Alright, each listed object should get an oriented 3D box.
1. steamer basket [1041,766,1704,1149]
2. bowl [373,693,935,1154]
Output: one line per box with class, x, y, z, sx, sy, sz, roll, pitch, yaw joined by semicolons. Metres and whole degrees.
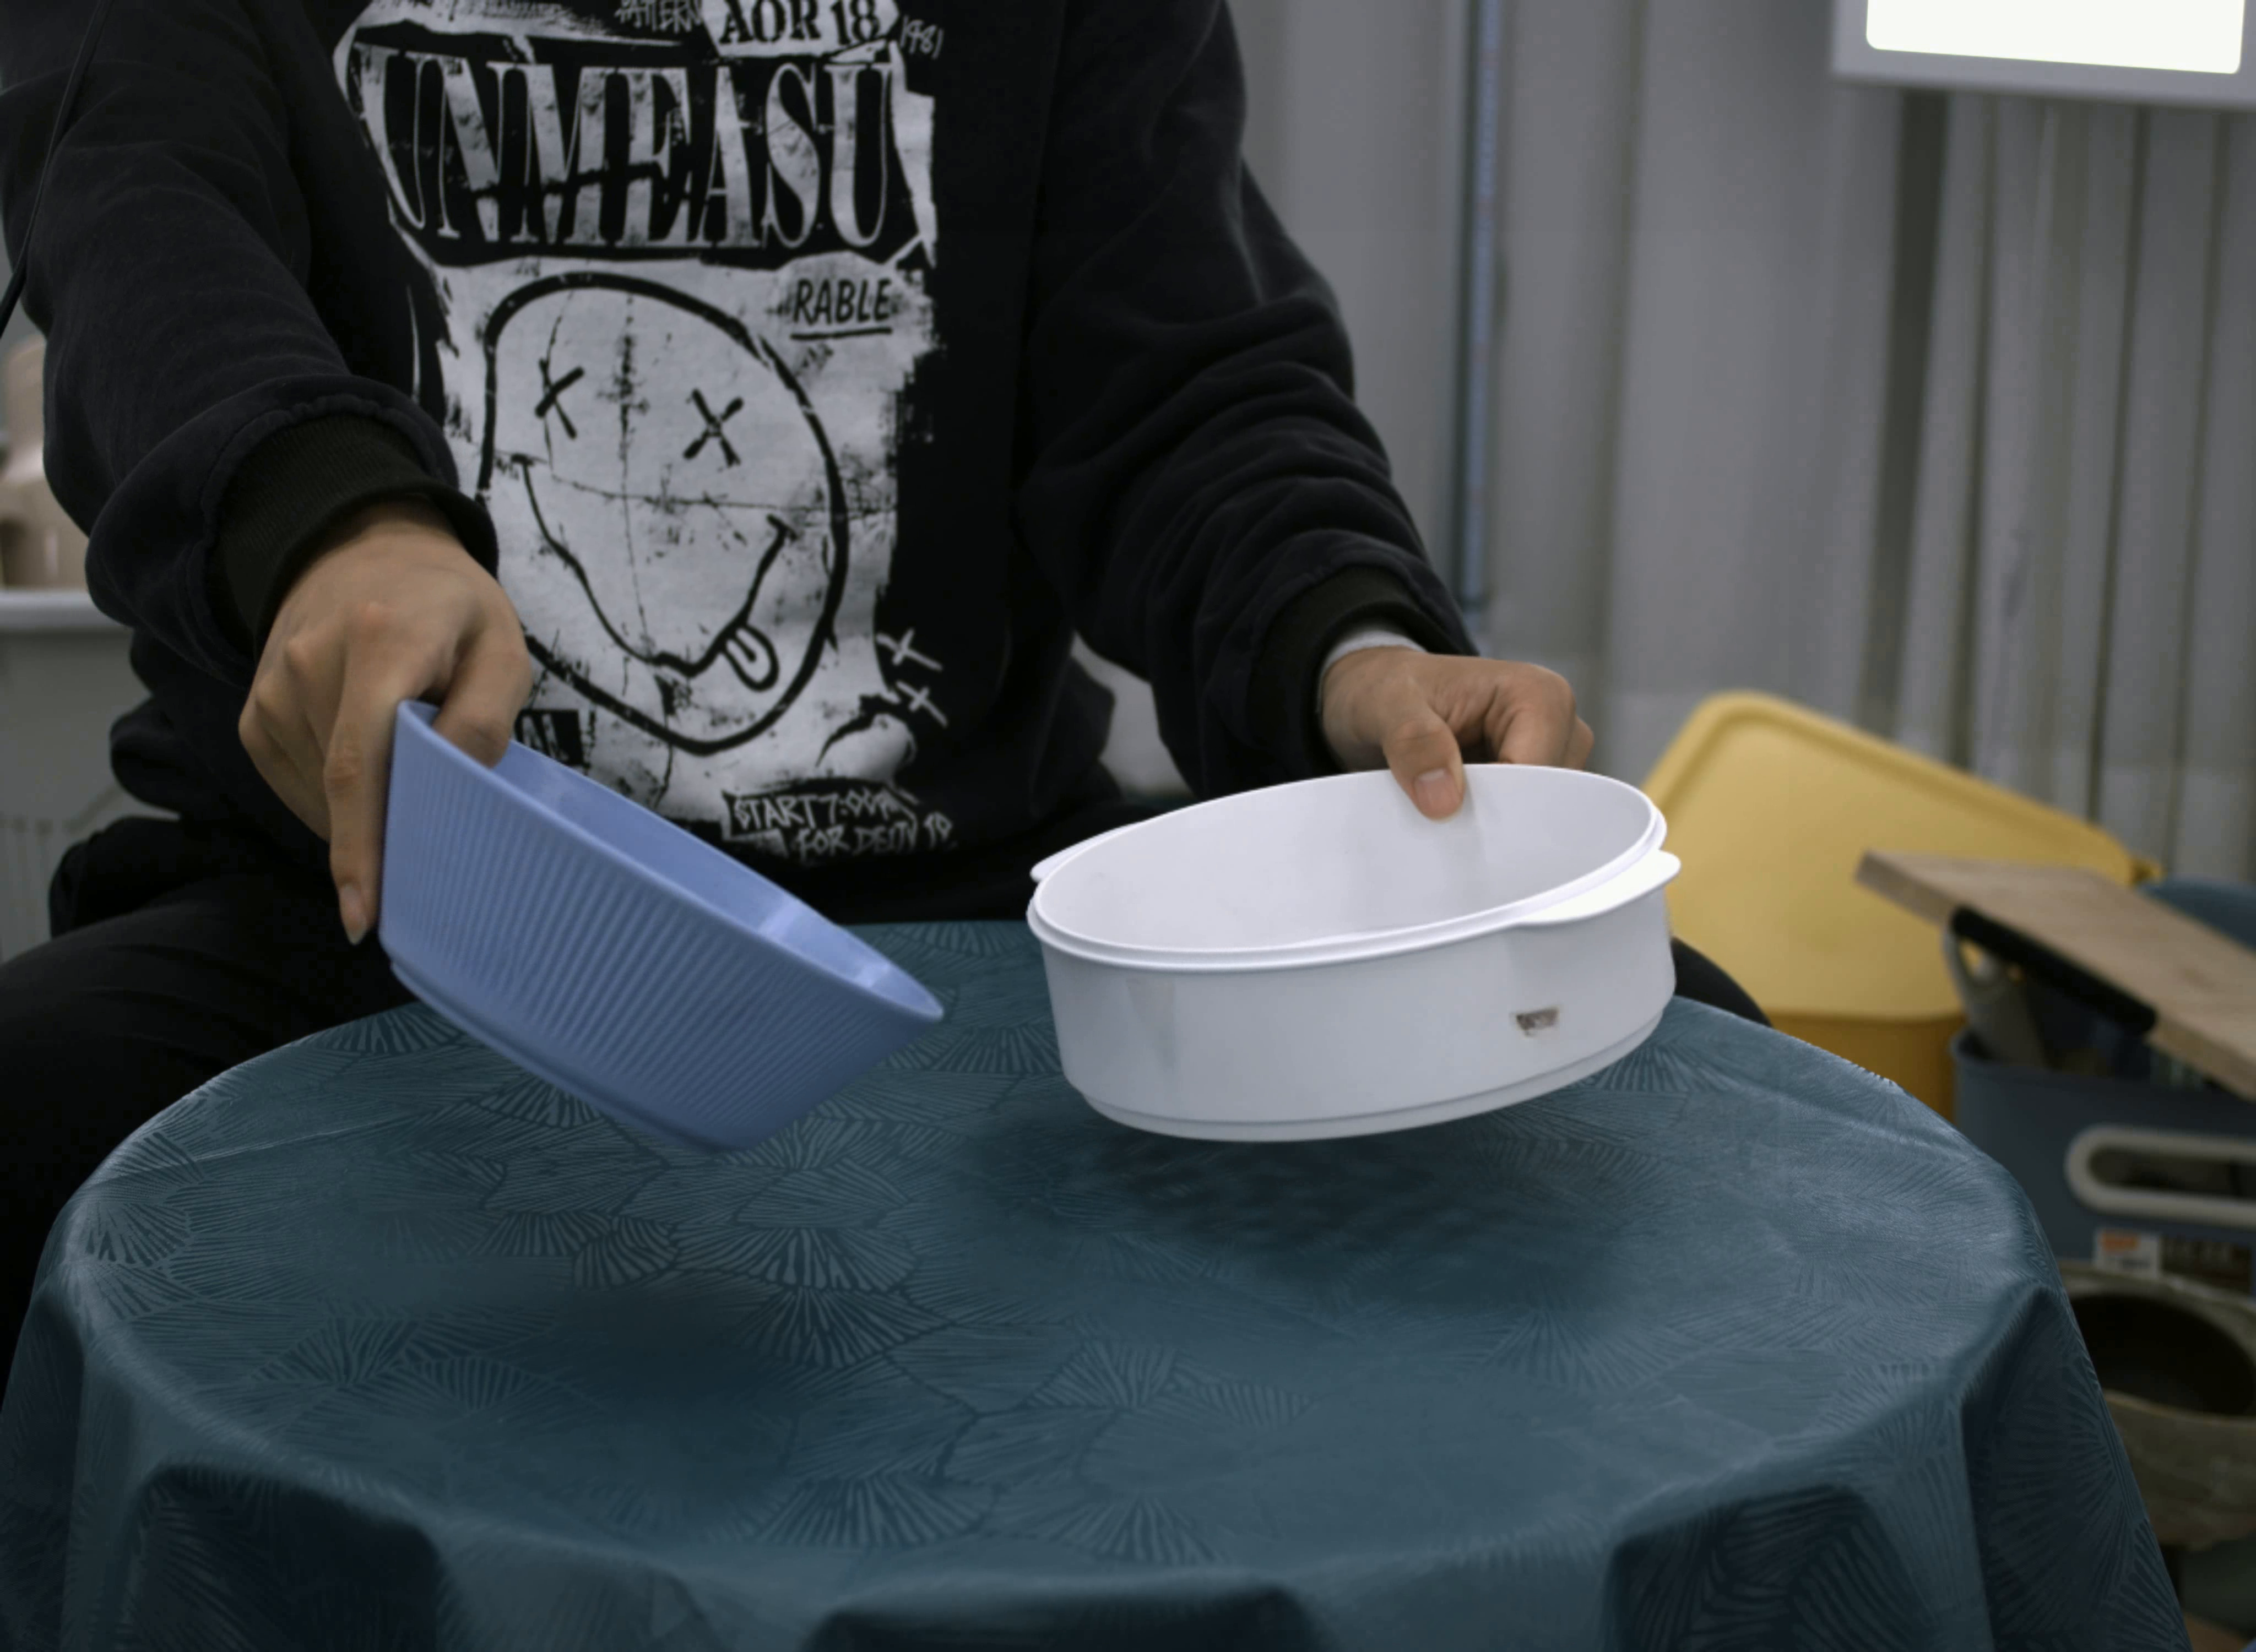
steamer basket;0.076;0.040;1.640;0.227;0.070;0.202;7;21;39
bowl;-0.145;0.035;1.478;0.176;0.070;0.176;32;1;0
